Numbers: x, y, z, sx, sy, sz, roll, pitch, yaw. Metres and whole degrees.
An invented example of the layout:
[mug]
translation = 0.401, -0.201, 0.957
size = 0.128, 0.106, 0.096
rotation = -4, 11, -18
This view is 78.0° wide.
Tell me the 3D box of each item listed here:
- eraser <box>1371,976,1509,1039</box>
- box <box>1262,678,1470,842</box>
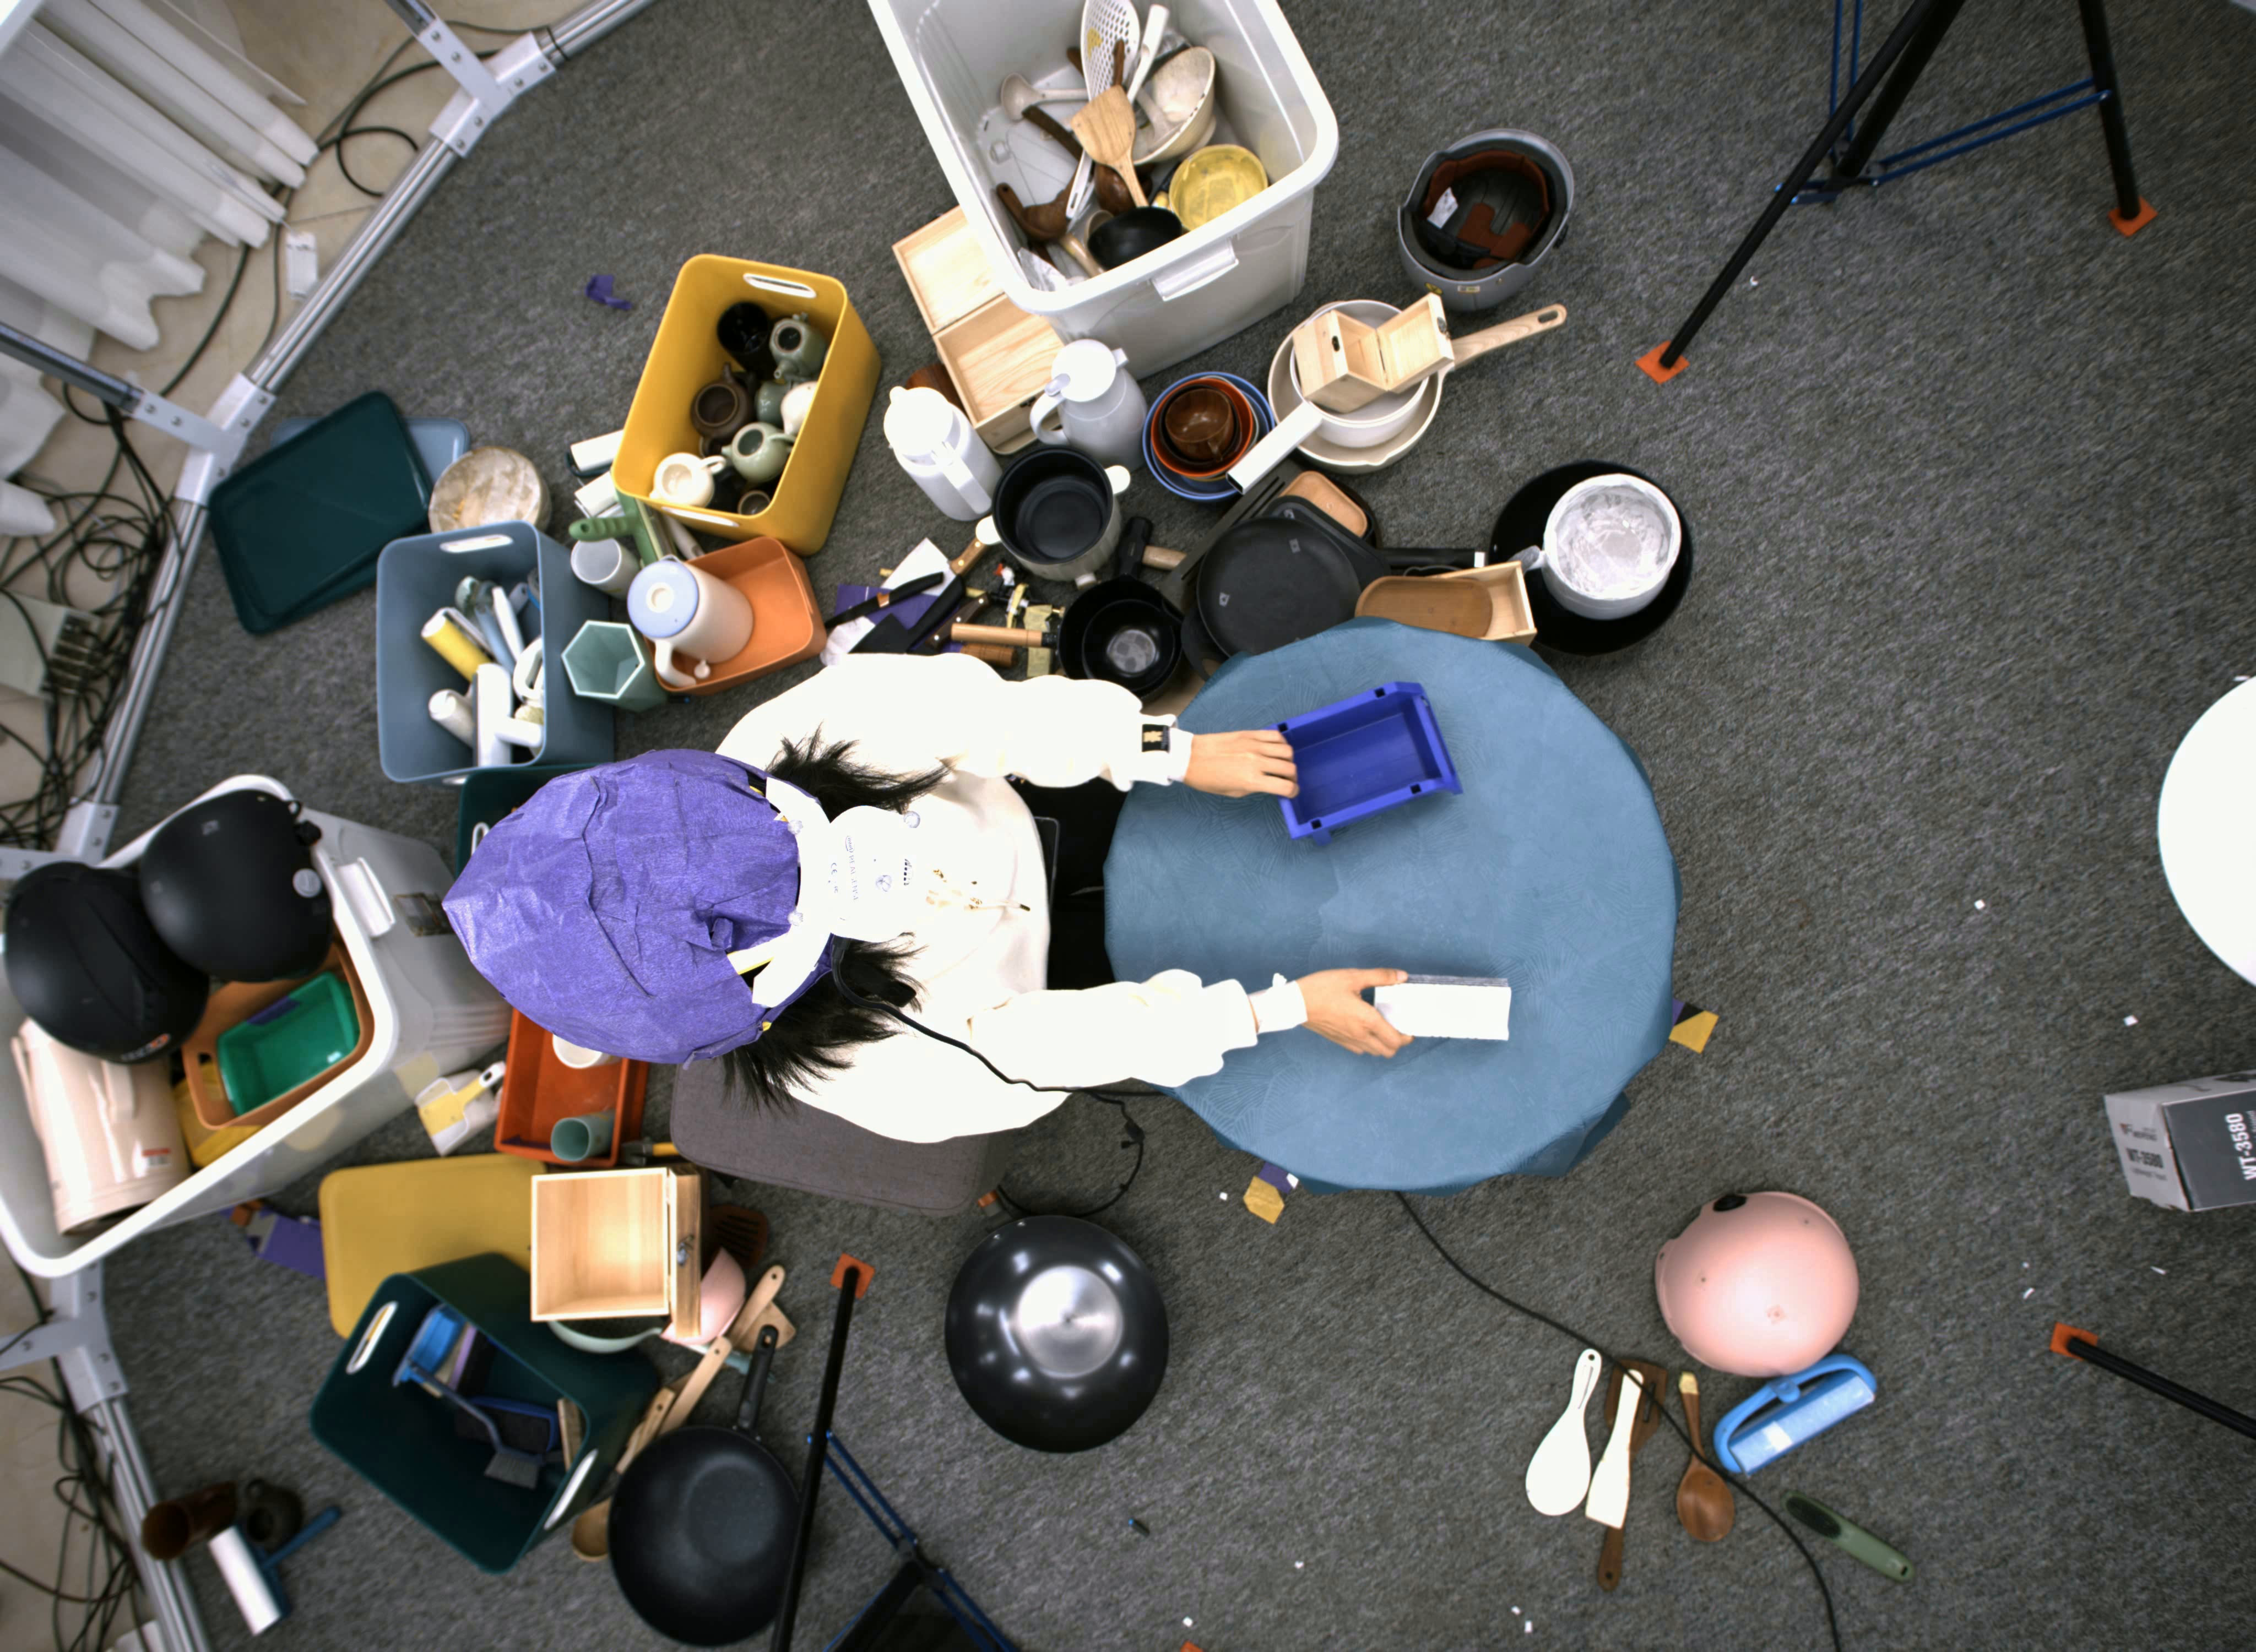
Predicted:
[eraser]
translation = 0.313, 0.179, 1.391
size = 0.135, 0.045, 0.051
rotation = -1, 123, 8
[box]
translation = 0.244, -0.070, 1.410
size = 0.181, 0.082, 0.123
rotation = -19, 75, 13
